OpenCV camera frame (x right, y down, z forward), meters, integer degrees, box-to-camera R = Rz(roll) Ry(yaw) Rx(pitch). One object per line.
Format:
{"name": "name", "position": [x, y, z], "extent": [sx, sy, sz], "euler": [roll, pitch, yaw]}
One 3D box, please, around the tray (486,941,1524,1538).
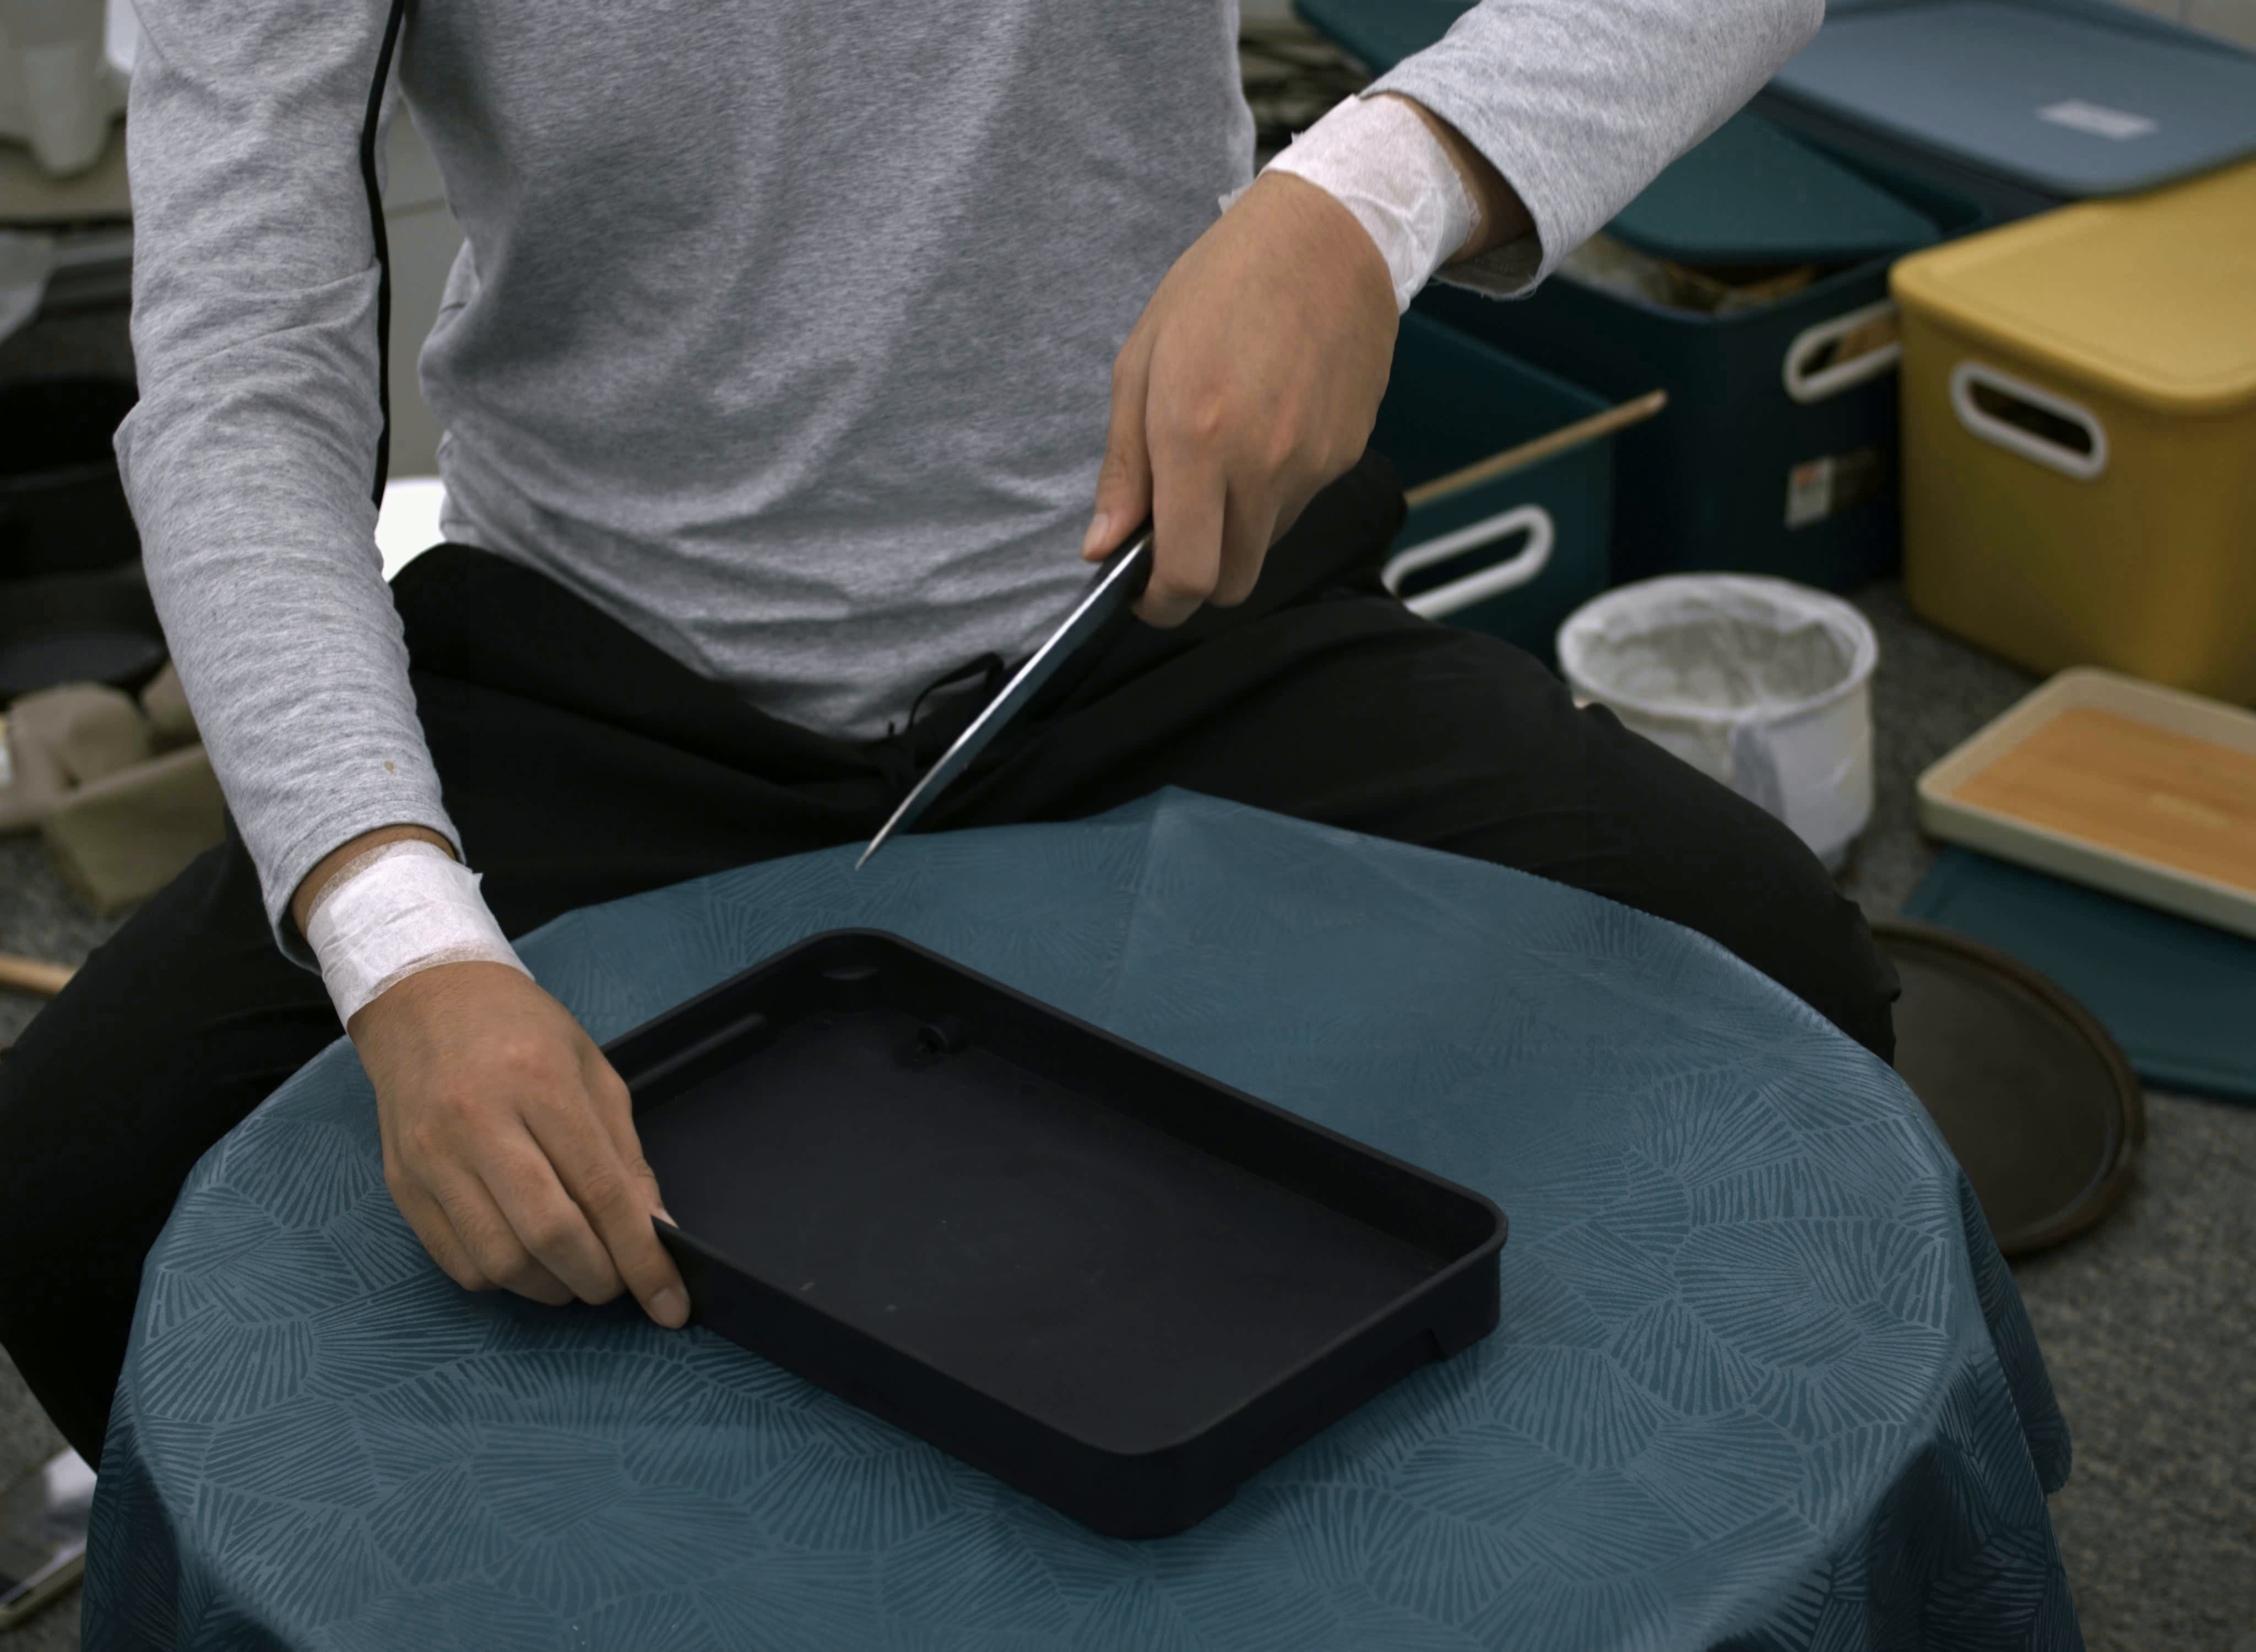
{"name": "tray", "position": [-0.043, 0.128, 1.816], "extent": [0.317, 0.036, 0.186], "euler": [20, 34, 38]}

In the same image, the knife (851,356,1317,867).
{"name": "knife", "position": [-0.014, -0.071, 1.798], "extent": [0.016, 0.024, 0.241], "euler": [34, 64, 16]}
